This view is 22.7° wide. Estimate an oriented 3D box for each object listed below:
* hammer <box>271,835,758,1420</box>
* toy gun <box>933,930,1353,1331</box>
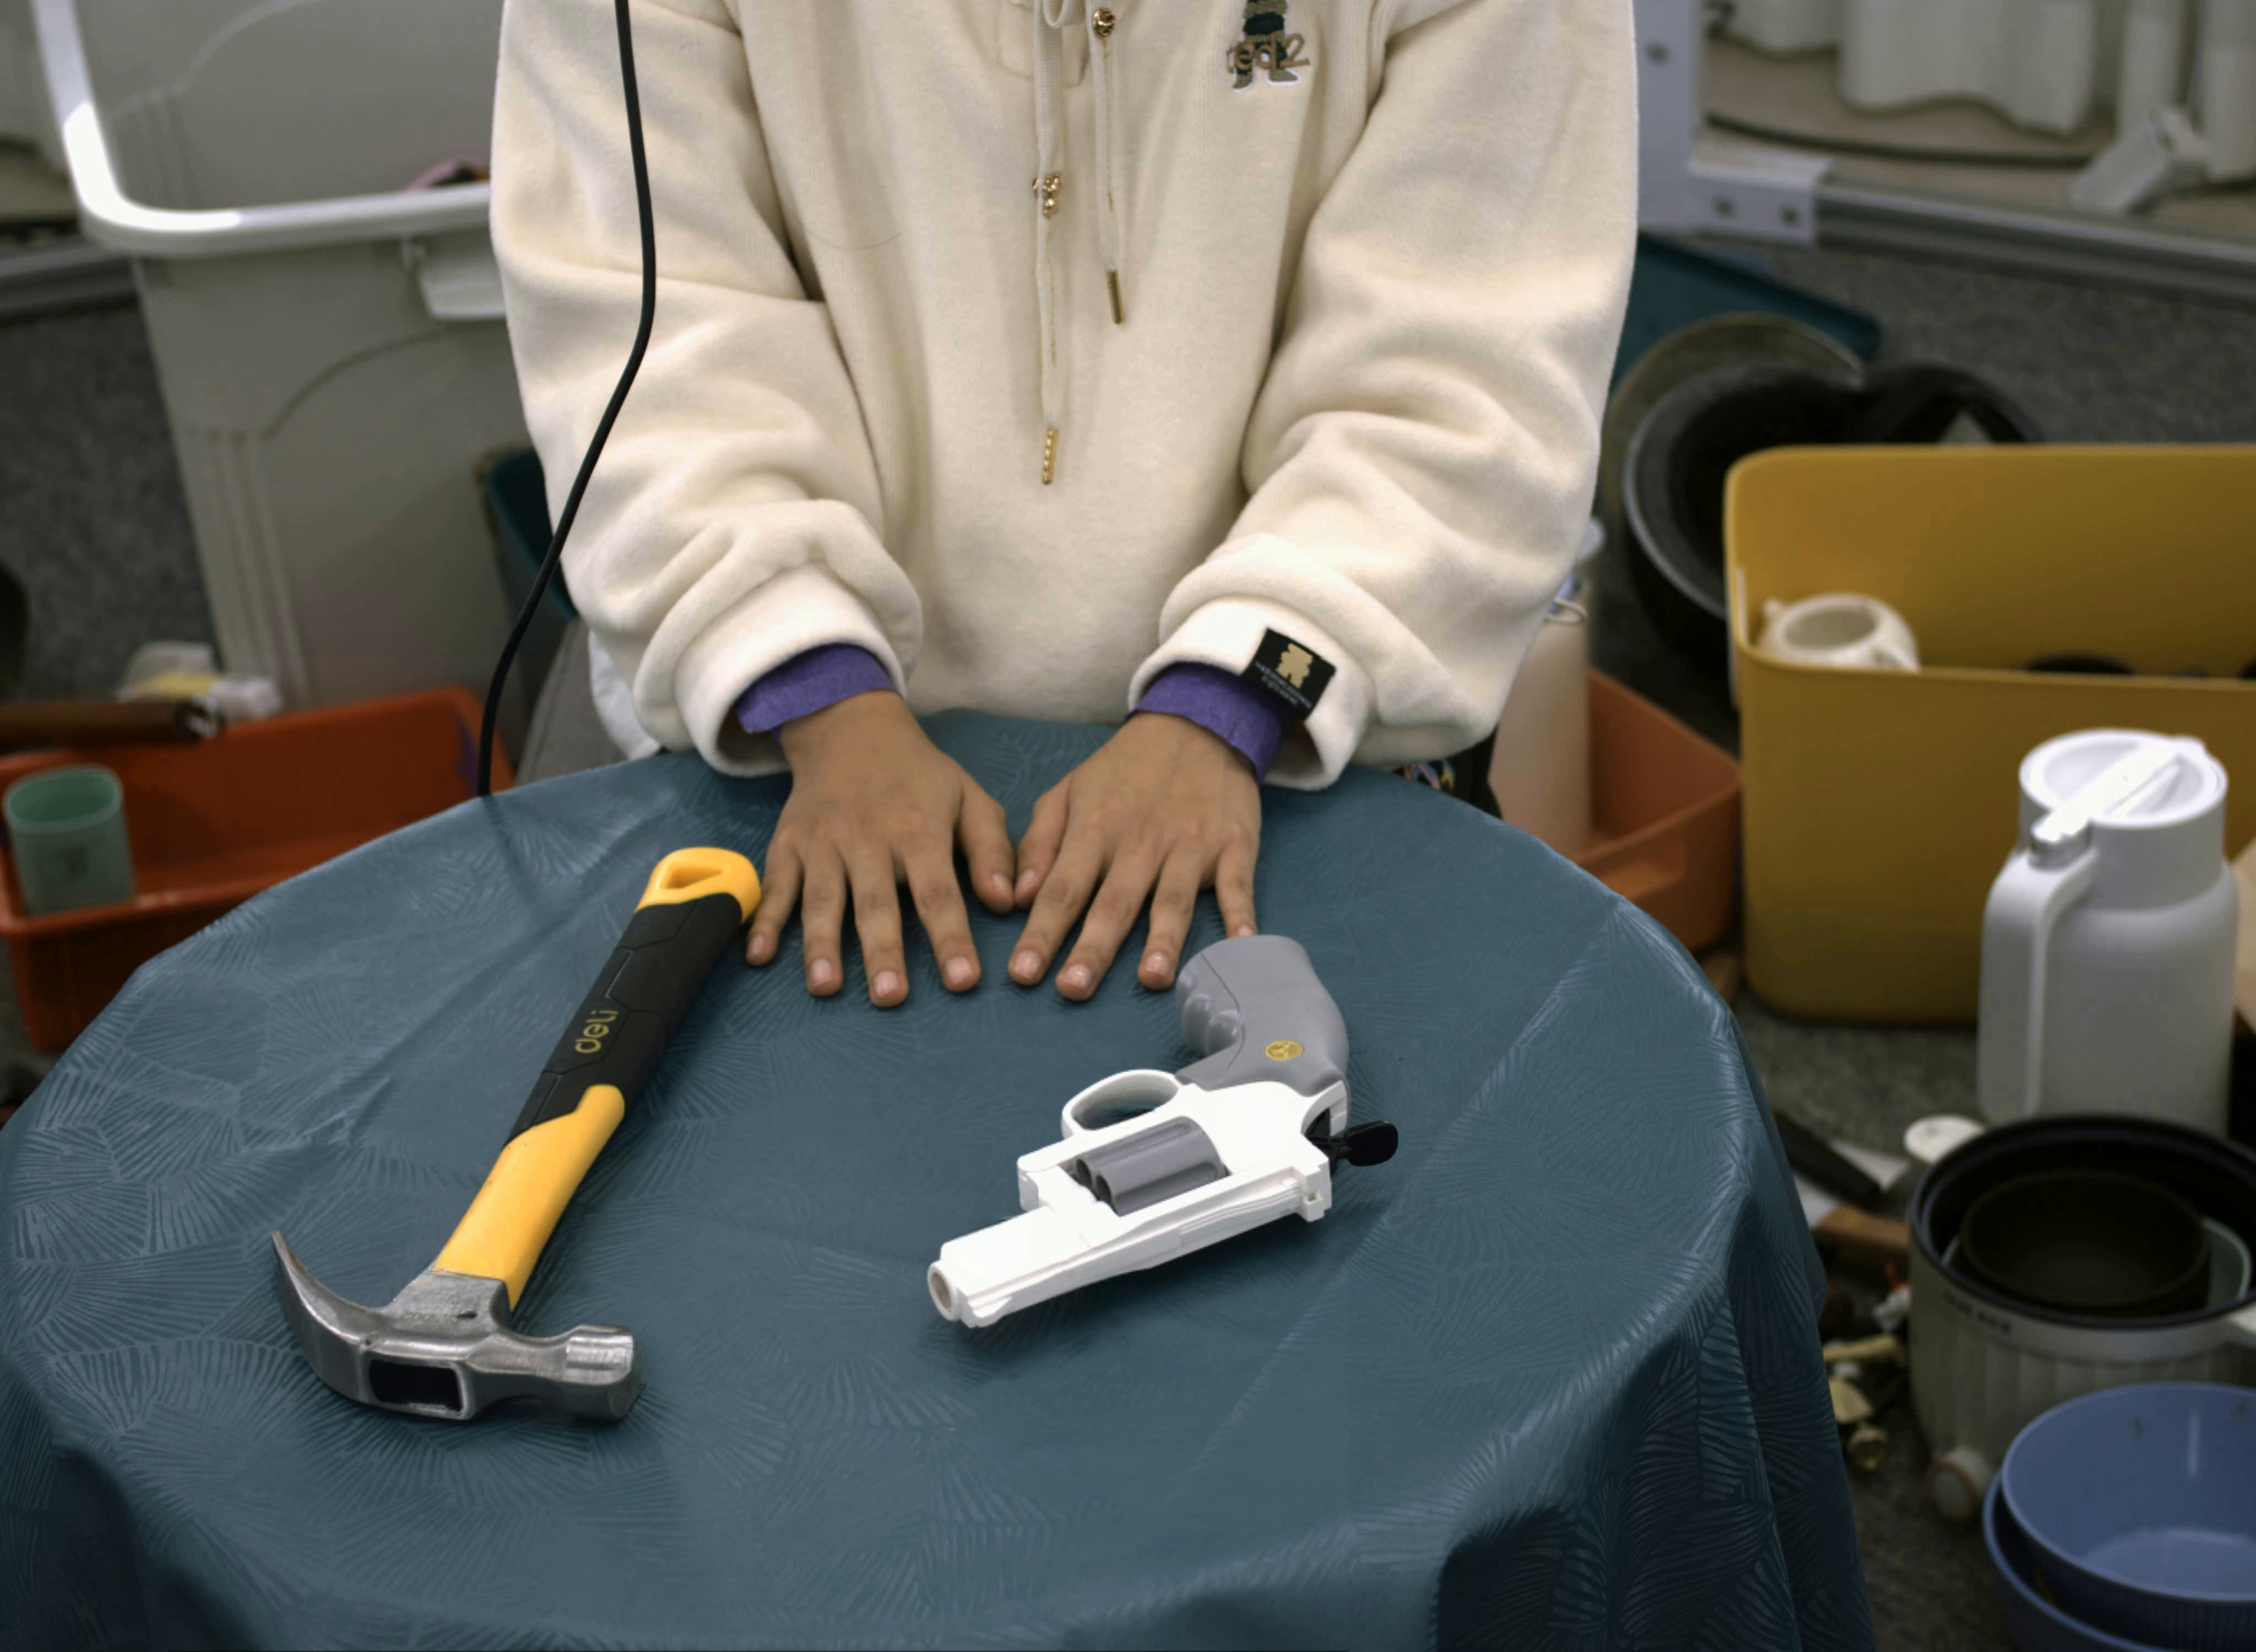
[{"bbox_3d":[-0.187,0.094,1.895,0.130,0.032,0.344,1,29,13],"label":"hammer"},{"bbox_3d":[0.004,0.100,1.859,0.210,0.038,0.142,-19,32,-28],"label":"toy gun"}]
